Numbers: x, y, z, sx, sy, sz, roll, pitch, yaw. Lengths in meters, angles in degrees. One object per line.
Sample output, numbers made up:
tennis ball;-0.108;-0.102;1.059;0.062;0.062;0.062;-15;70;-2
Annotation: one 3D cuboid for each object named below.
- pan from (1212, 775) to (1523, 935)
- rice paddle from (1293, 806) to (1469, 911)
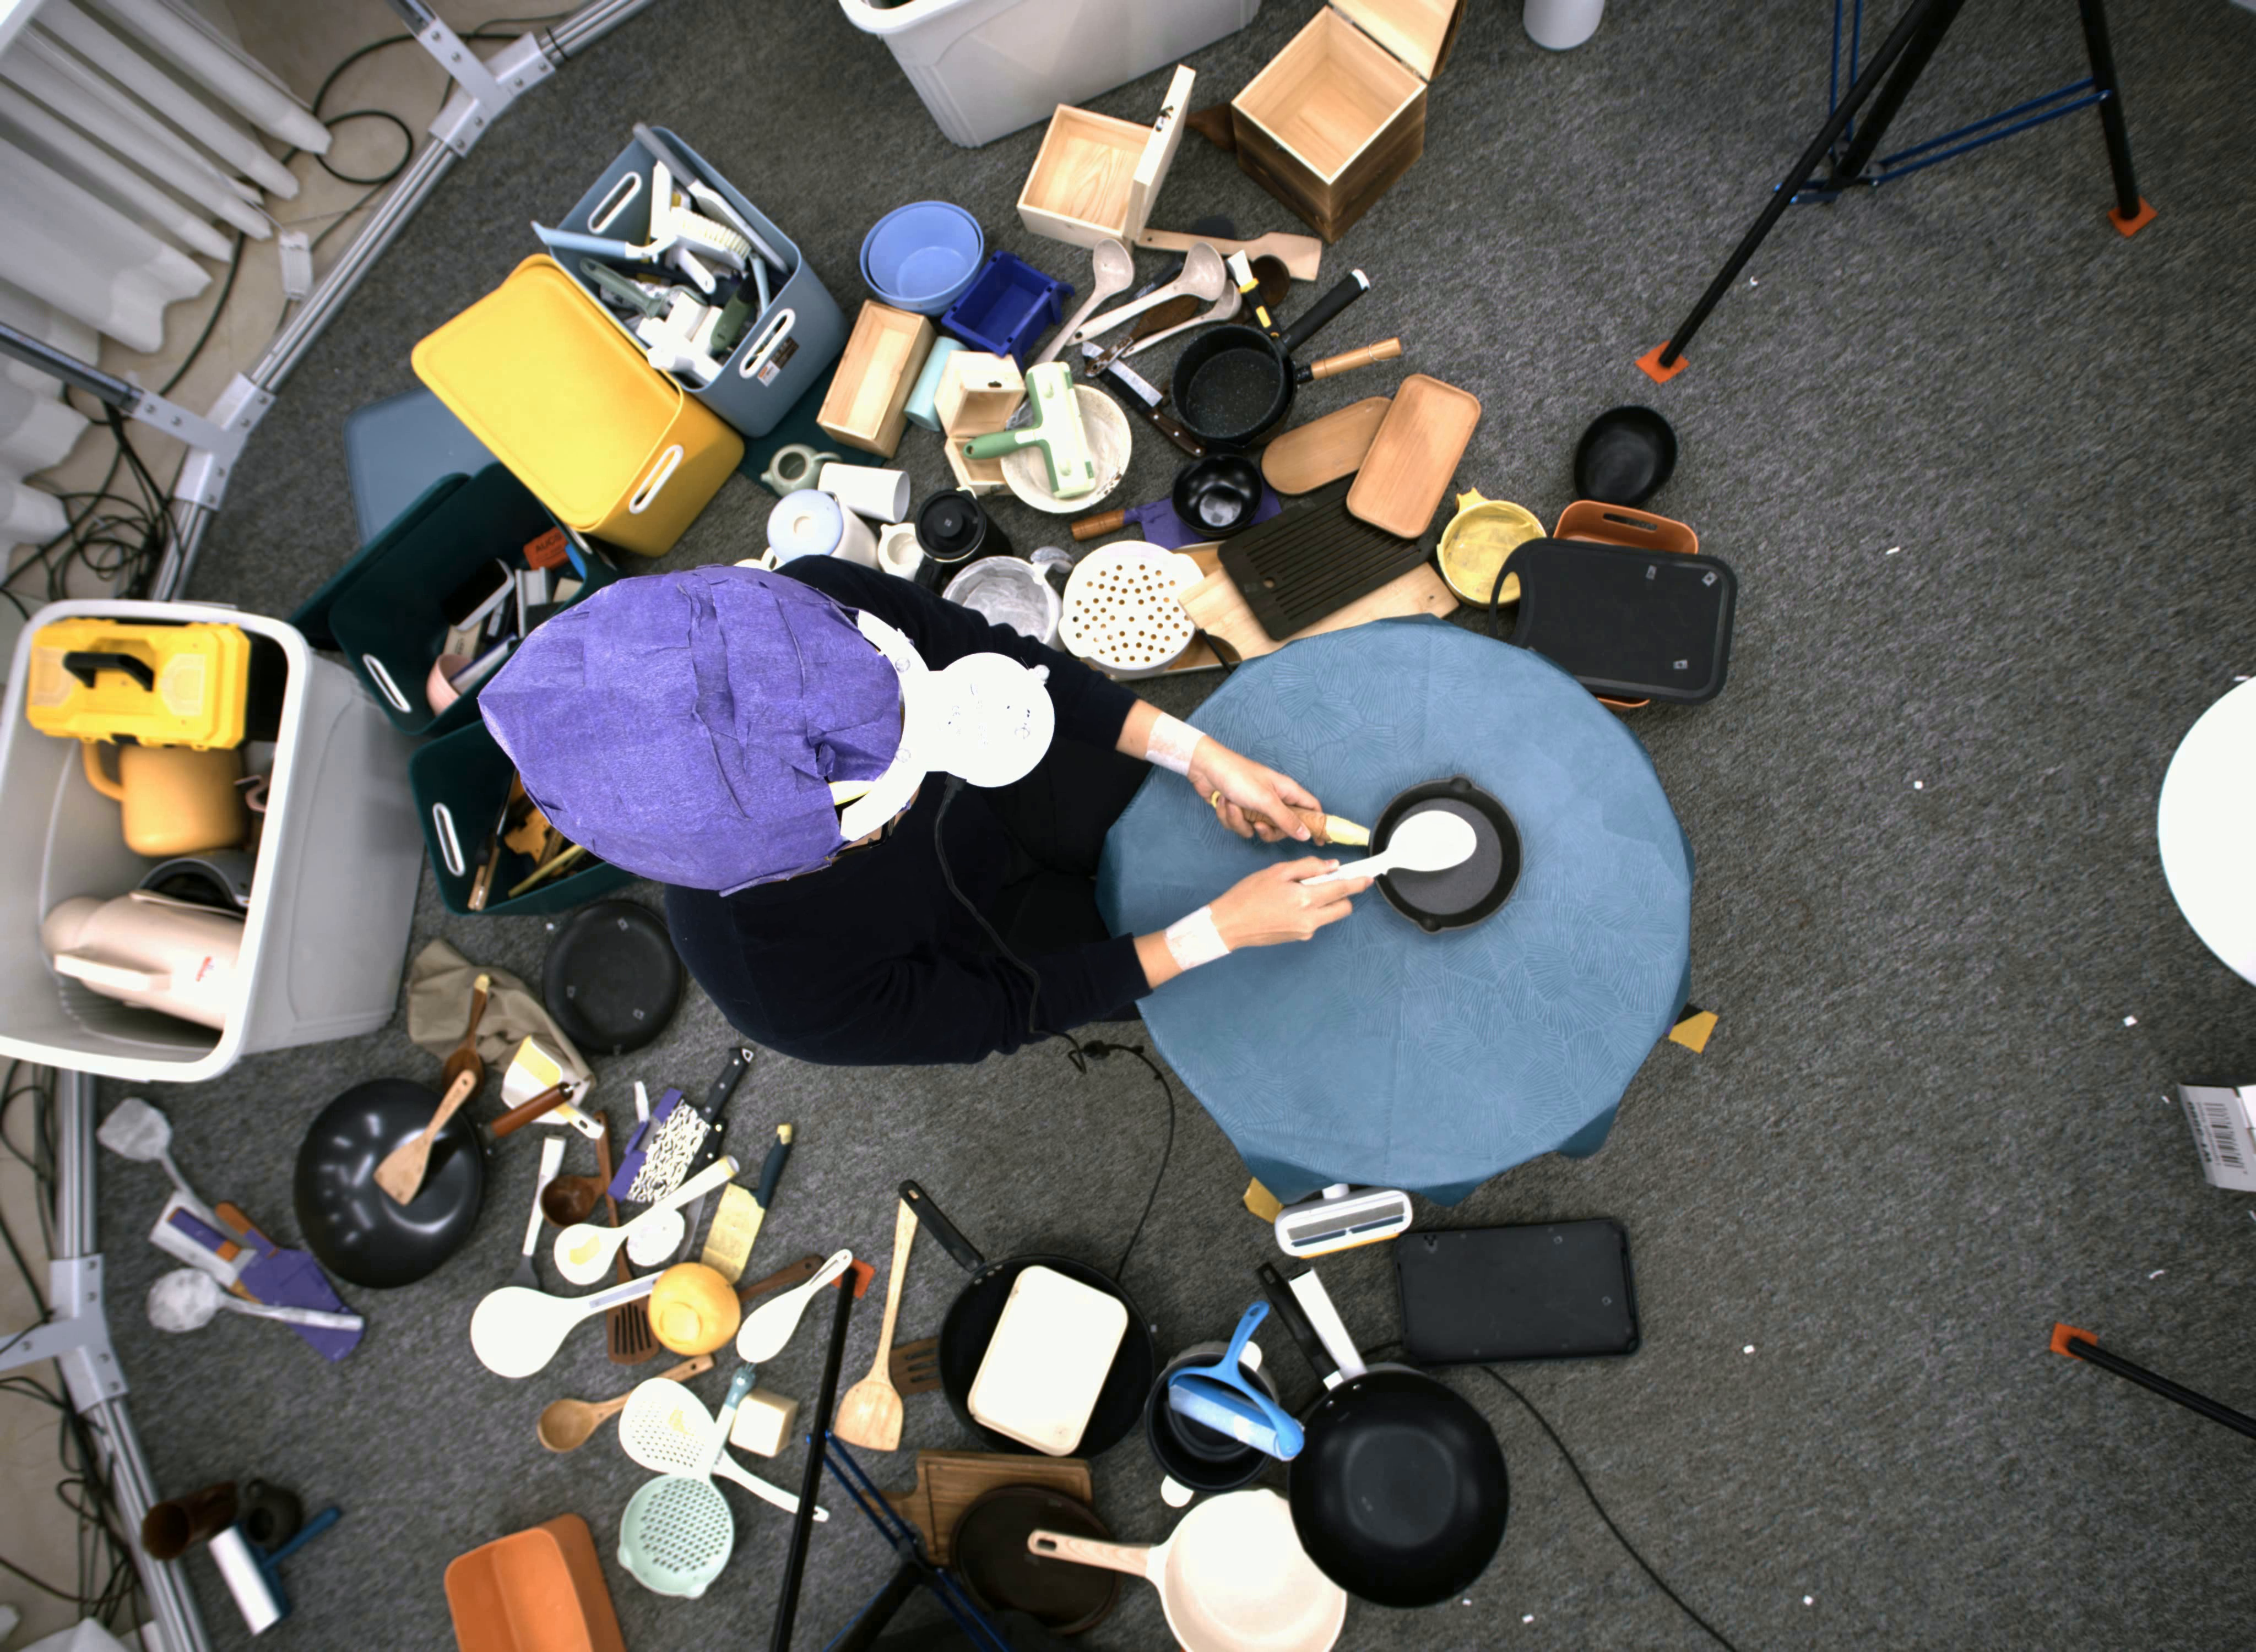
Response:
pan;0.246;0.007;1.432;0.324;0.049;0.169;15;90;5
rice paddle;0.261;0.030;1.404;0.203;0.030;0.068;-24;61;-16
